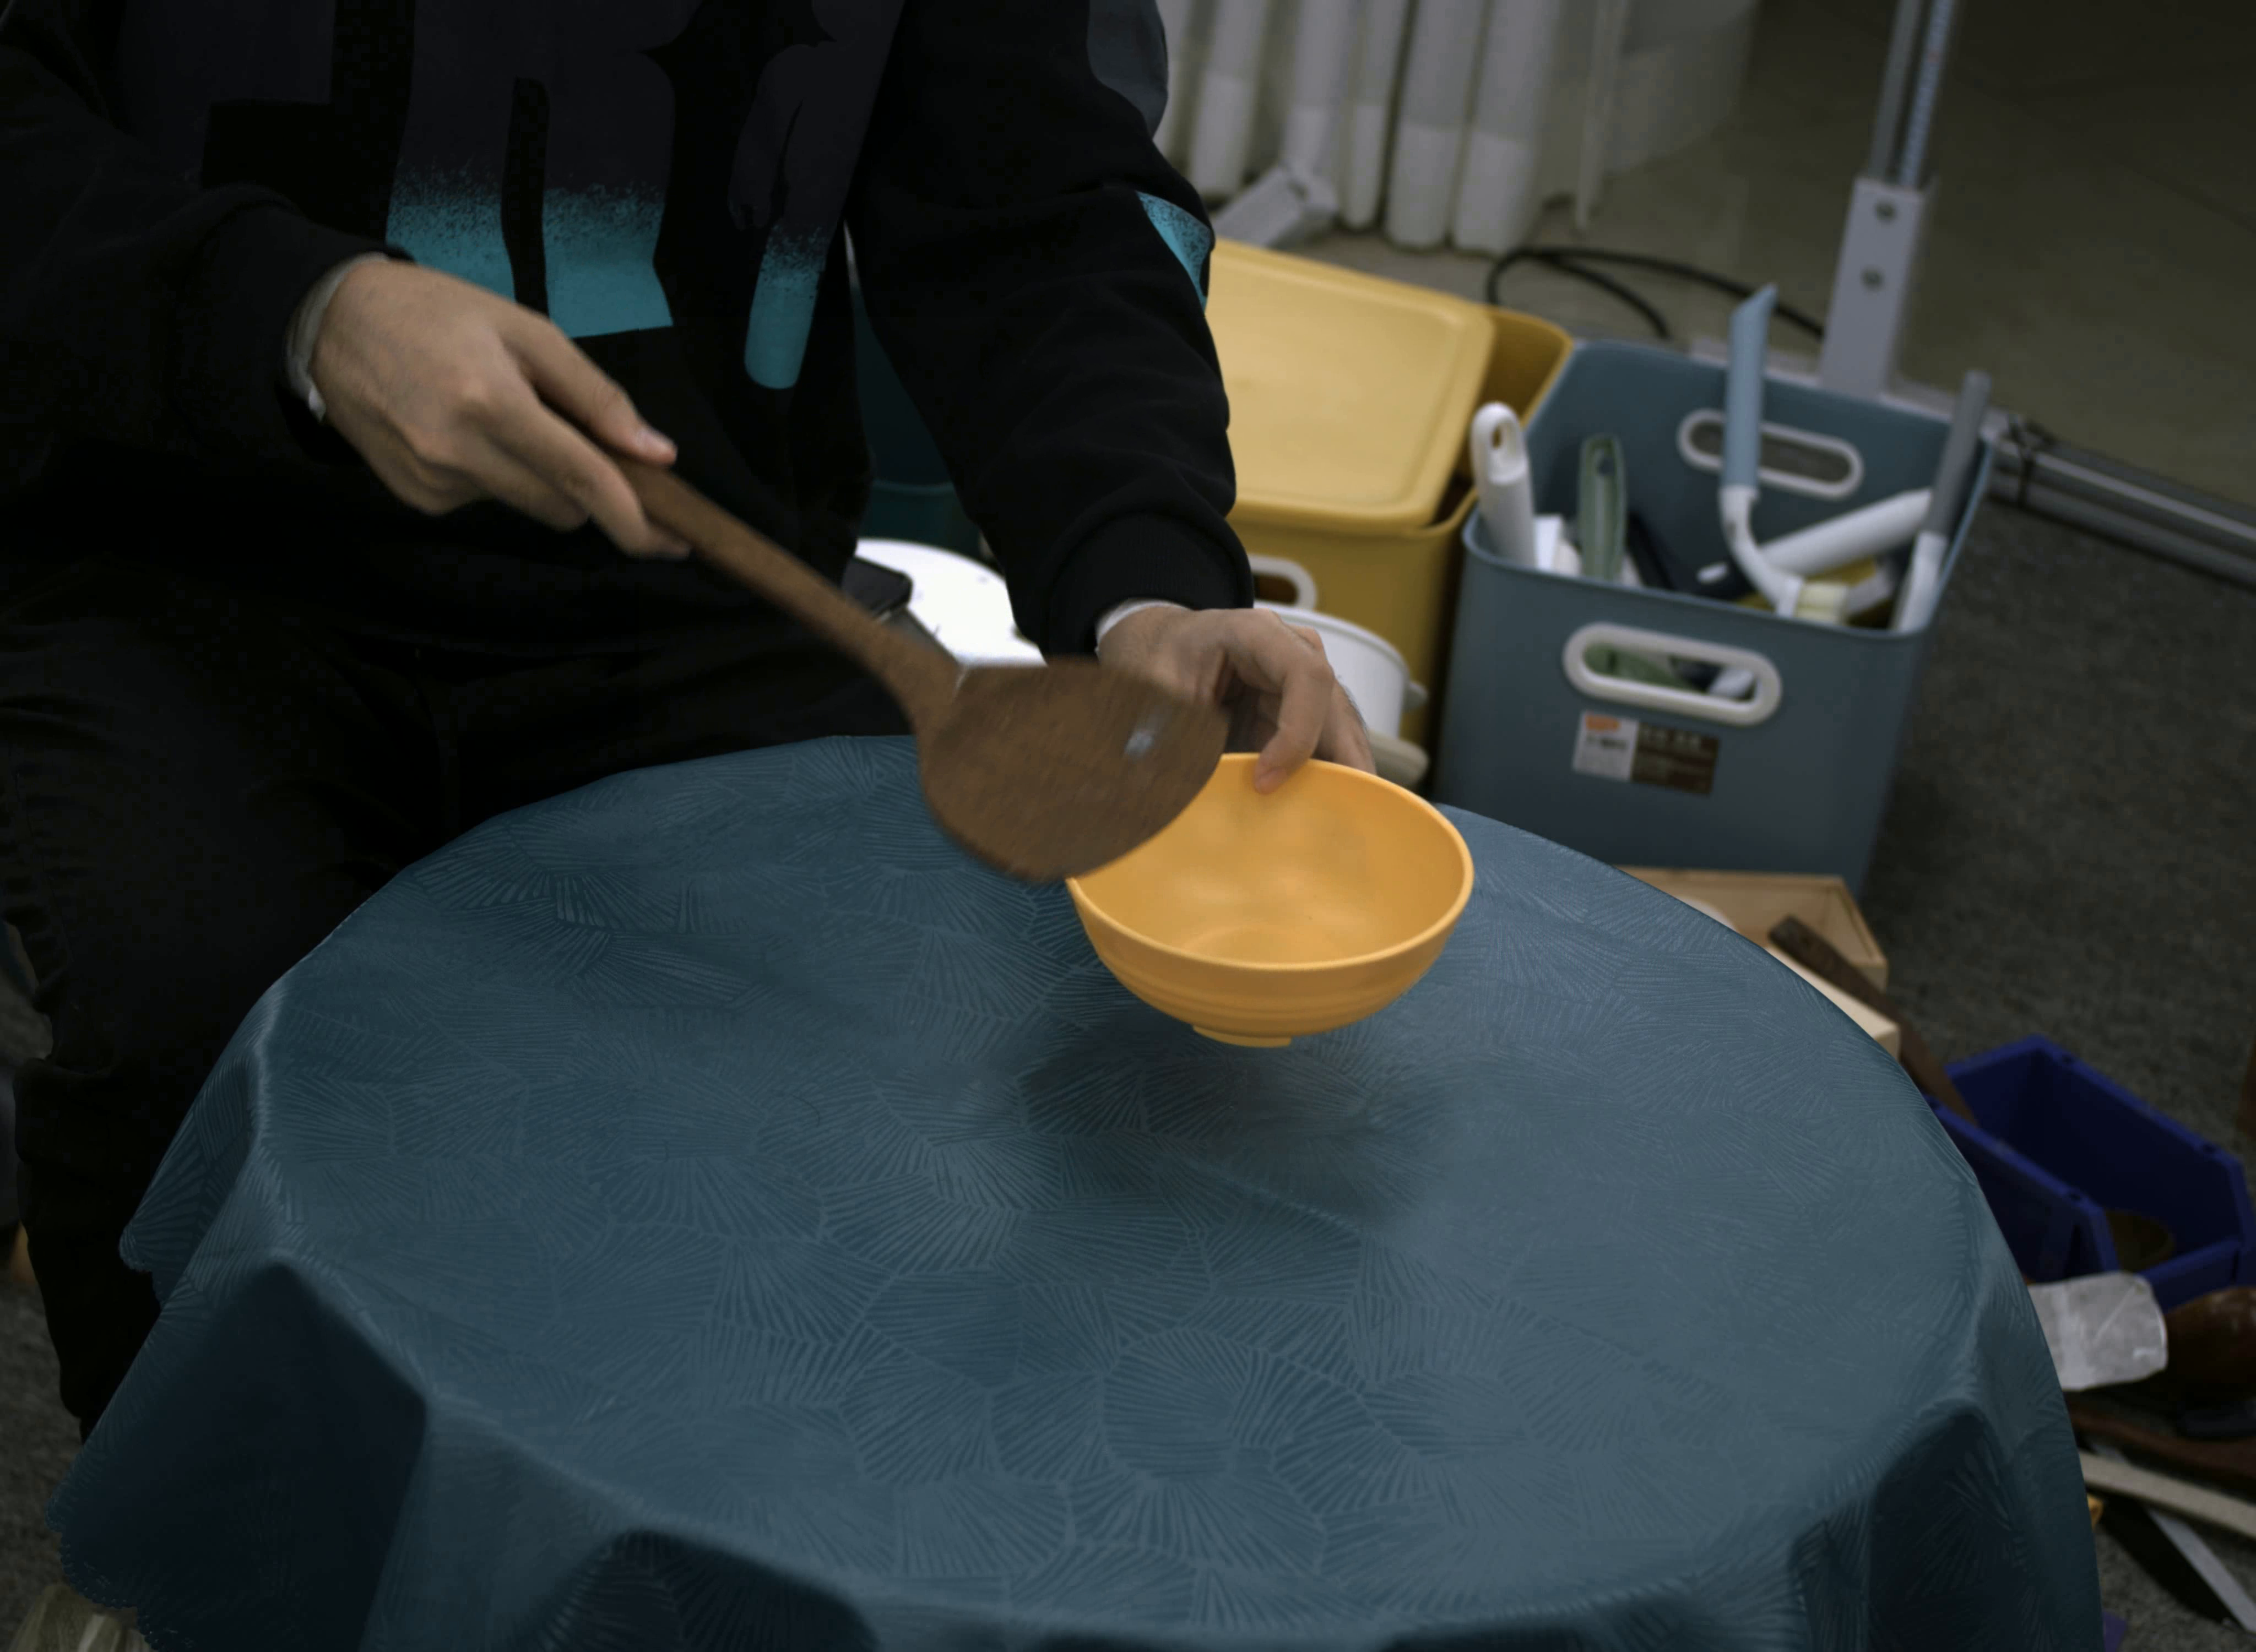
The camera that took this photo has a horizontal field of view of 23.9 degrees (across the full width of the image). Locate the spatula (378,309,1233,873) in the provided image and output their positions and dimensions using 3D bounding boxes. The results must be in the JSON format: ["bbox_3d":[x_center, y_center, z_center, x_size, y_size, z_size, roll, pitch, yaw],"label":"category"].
[{"bbox_3d":[-0.126,-0.093,1.818,0.389,0.015,0.096,33,61,30],"label":"spatula"}]

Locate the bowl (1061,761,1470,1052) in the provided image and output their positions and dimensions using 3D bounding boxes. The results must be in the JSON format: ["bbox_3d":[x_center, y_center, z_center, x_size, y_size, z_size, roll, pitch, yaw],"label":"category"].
[{"bbox_3d":[0.045,0.037,1.863,0.145,0.060,0.146,4,29,-3],"label":"bowl"}]
